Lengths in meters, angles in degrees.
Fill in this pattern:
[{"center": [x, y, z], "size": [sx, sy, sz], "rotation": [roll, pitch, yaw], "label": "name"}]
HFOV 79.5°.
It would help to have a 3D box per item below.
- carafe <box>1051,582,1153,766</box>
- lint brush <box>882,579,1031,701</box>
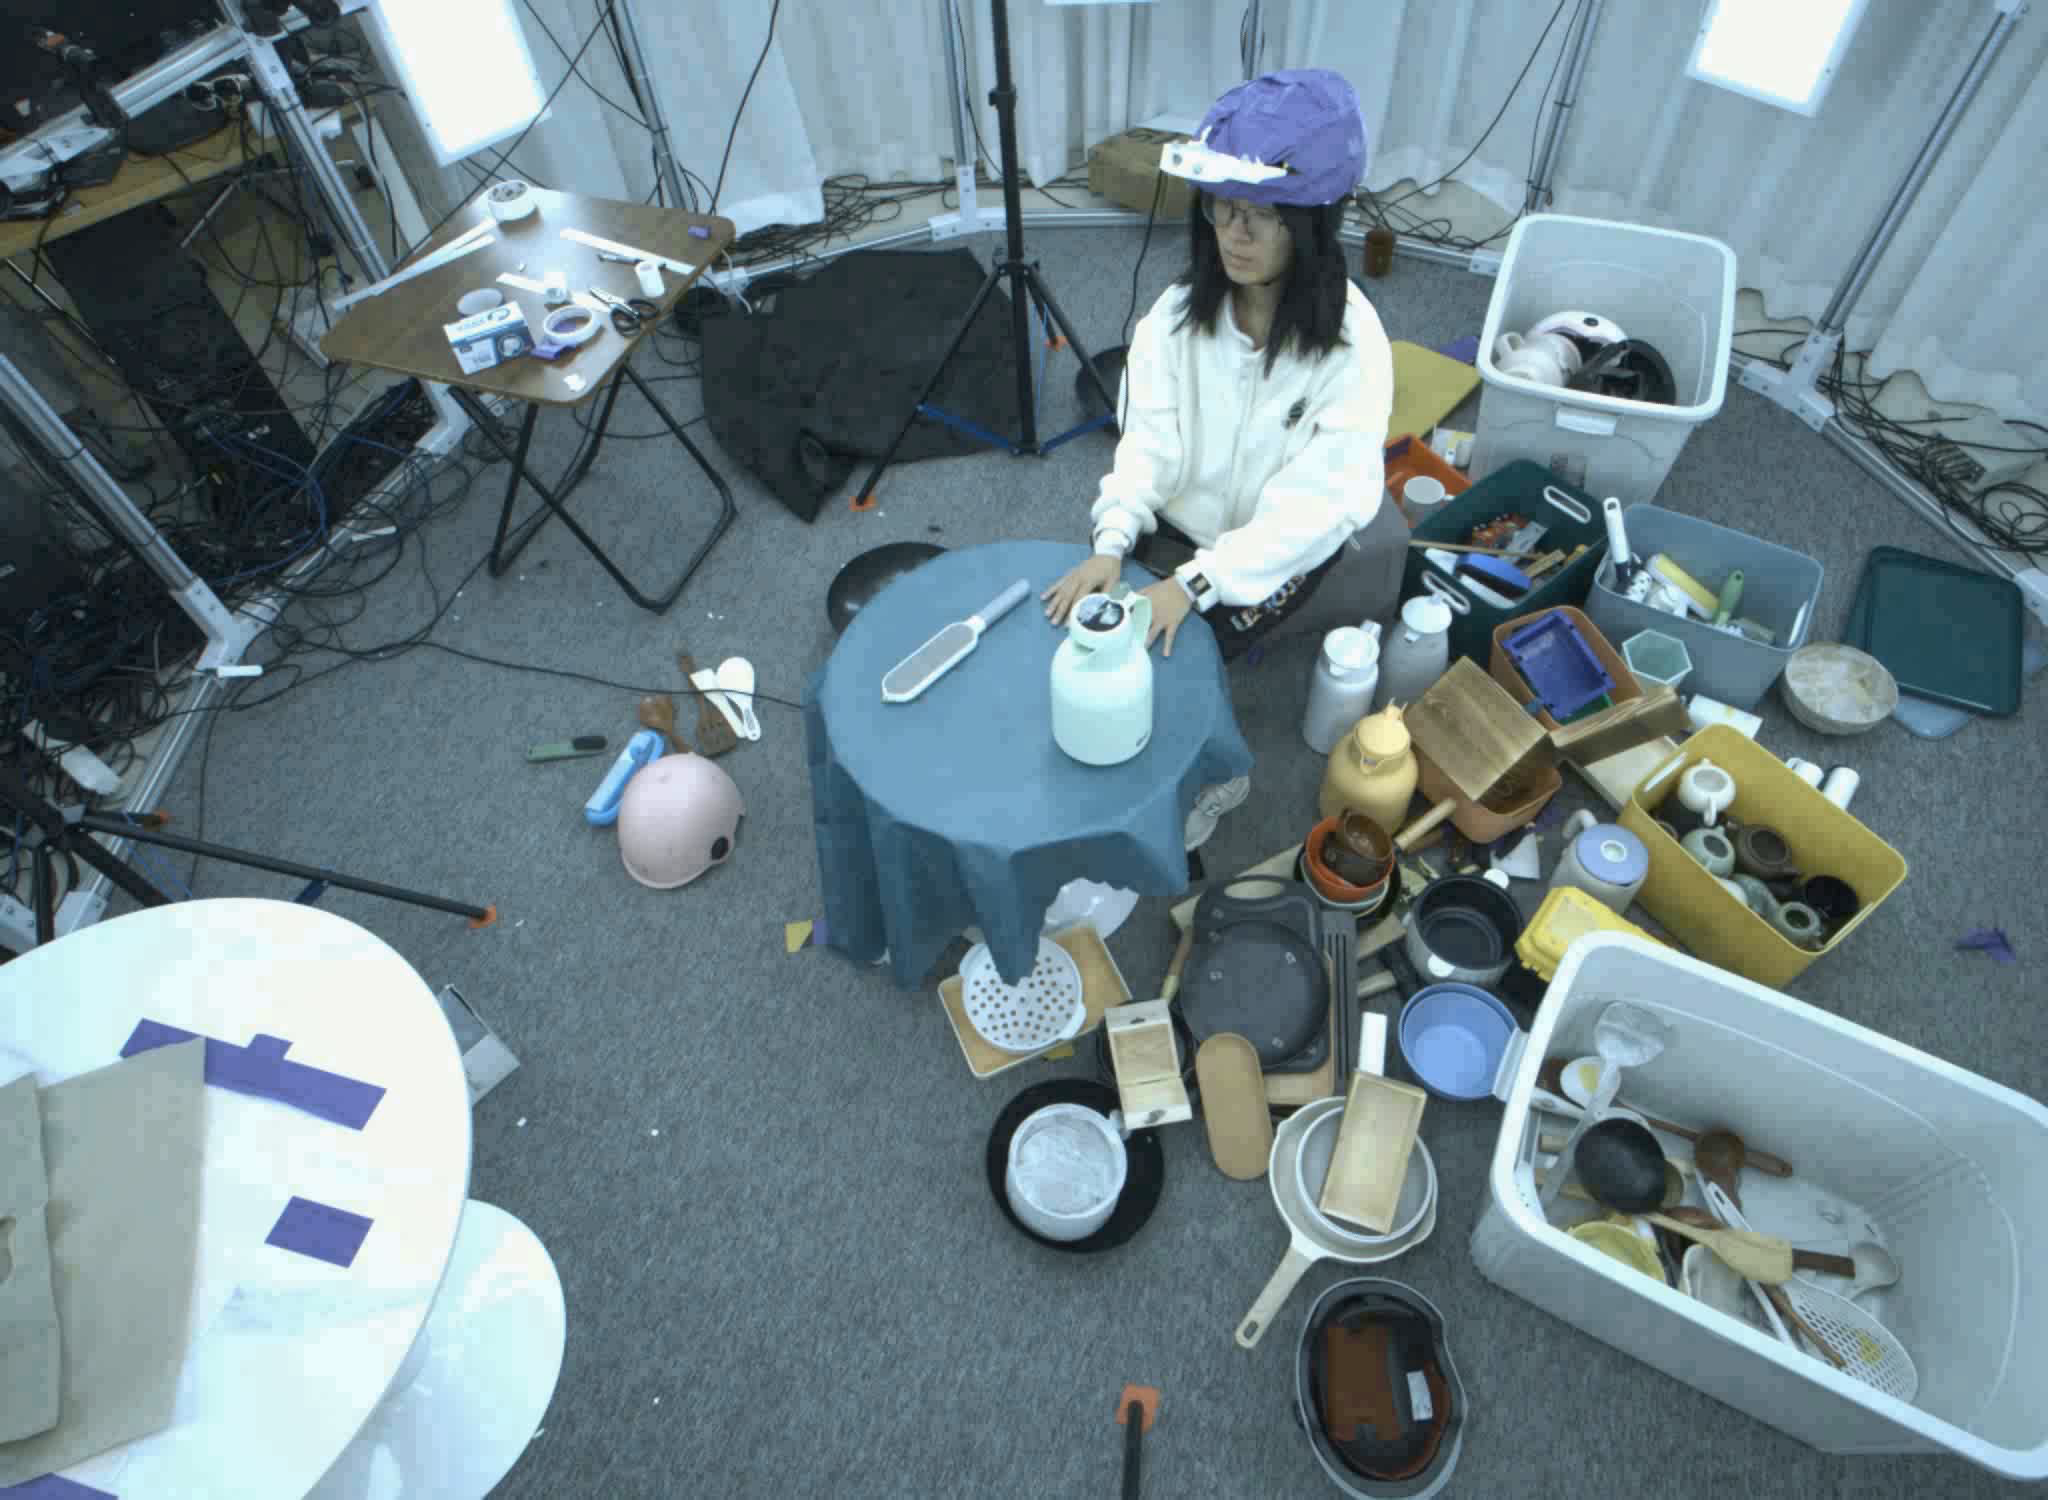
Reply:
[{"center": [0.115, -0.111, 1.709], "size": [0.142, 0.259, 0.188], "rotation": [27, 57, 22], "label": "carafe"}, {"center": [-0.099, -0.175, 1.900], "size": [0.059, 0.021, 0.311], "rotation": [36, 63, 27], "label": "lint brush"}]
